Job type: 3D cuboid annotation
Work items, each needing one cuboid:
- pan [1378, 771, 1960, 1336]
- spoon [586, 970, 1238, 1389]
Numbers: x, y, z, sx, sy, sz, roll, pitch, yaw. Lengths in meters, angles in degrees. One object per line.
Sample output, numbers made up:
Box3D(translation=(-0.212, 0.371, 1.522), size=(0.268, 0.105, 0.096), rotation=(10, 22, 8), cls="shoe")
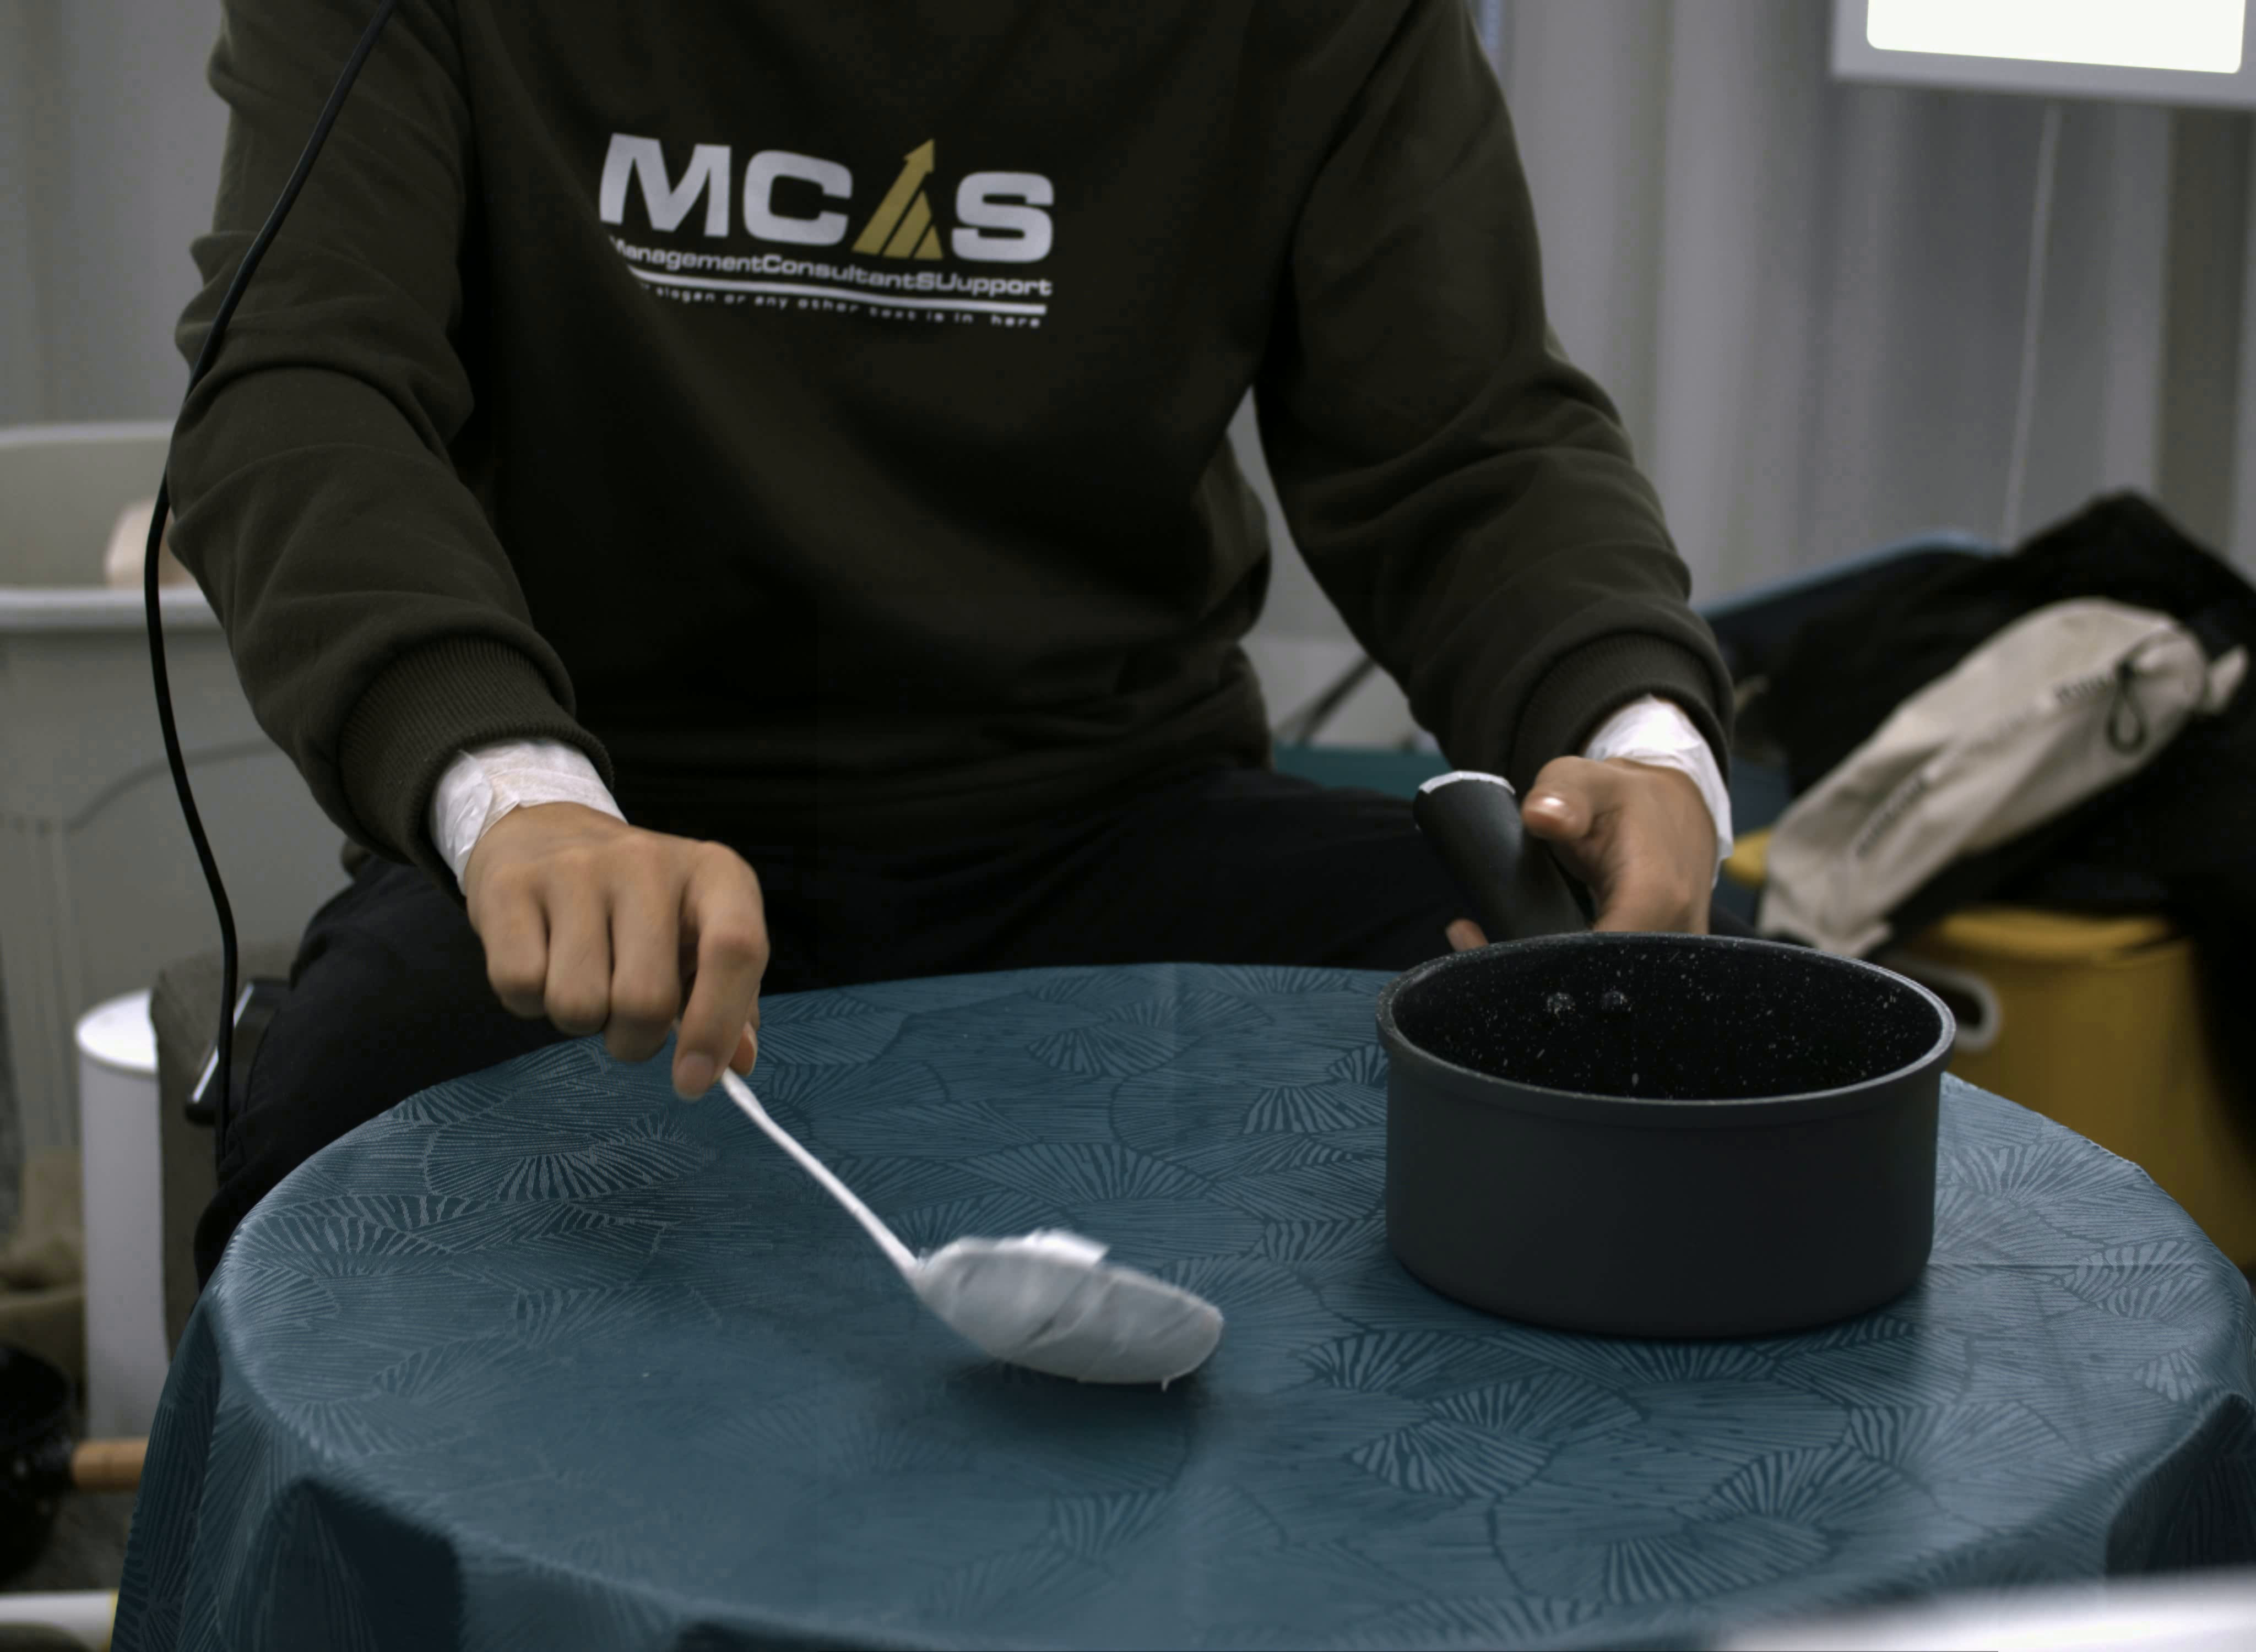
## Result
Box3D(translation=(0.147, 0.067, 1.638), size=(0.172, 0.087, 0.326), rotation=(-1, 16, -8), cls="pan")
Box3D(translation=(-0.068, 0.089, 1.520), size=(0.059, 0.102, 0.273), rotation=(-45, 43, -7), cls="spoon")
